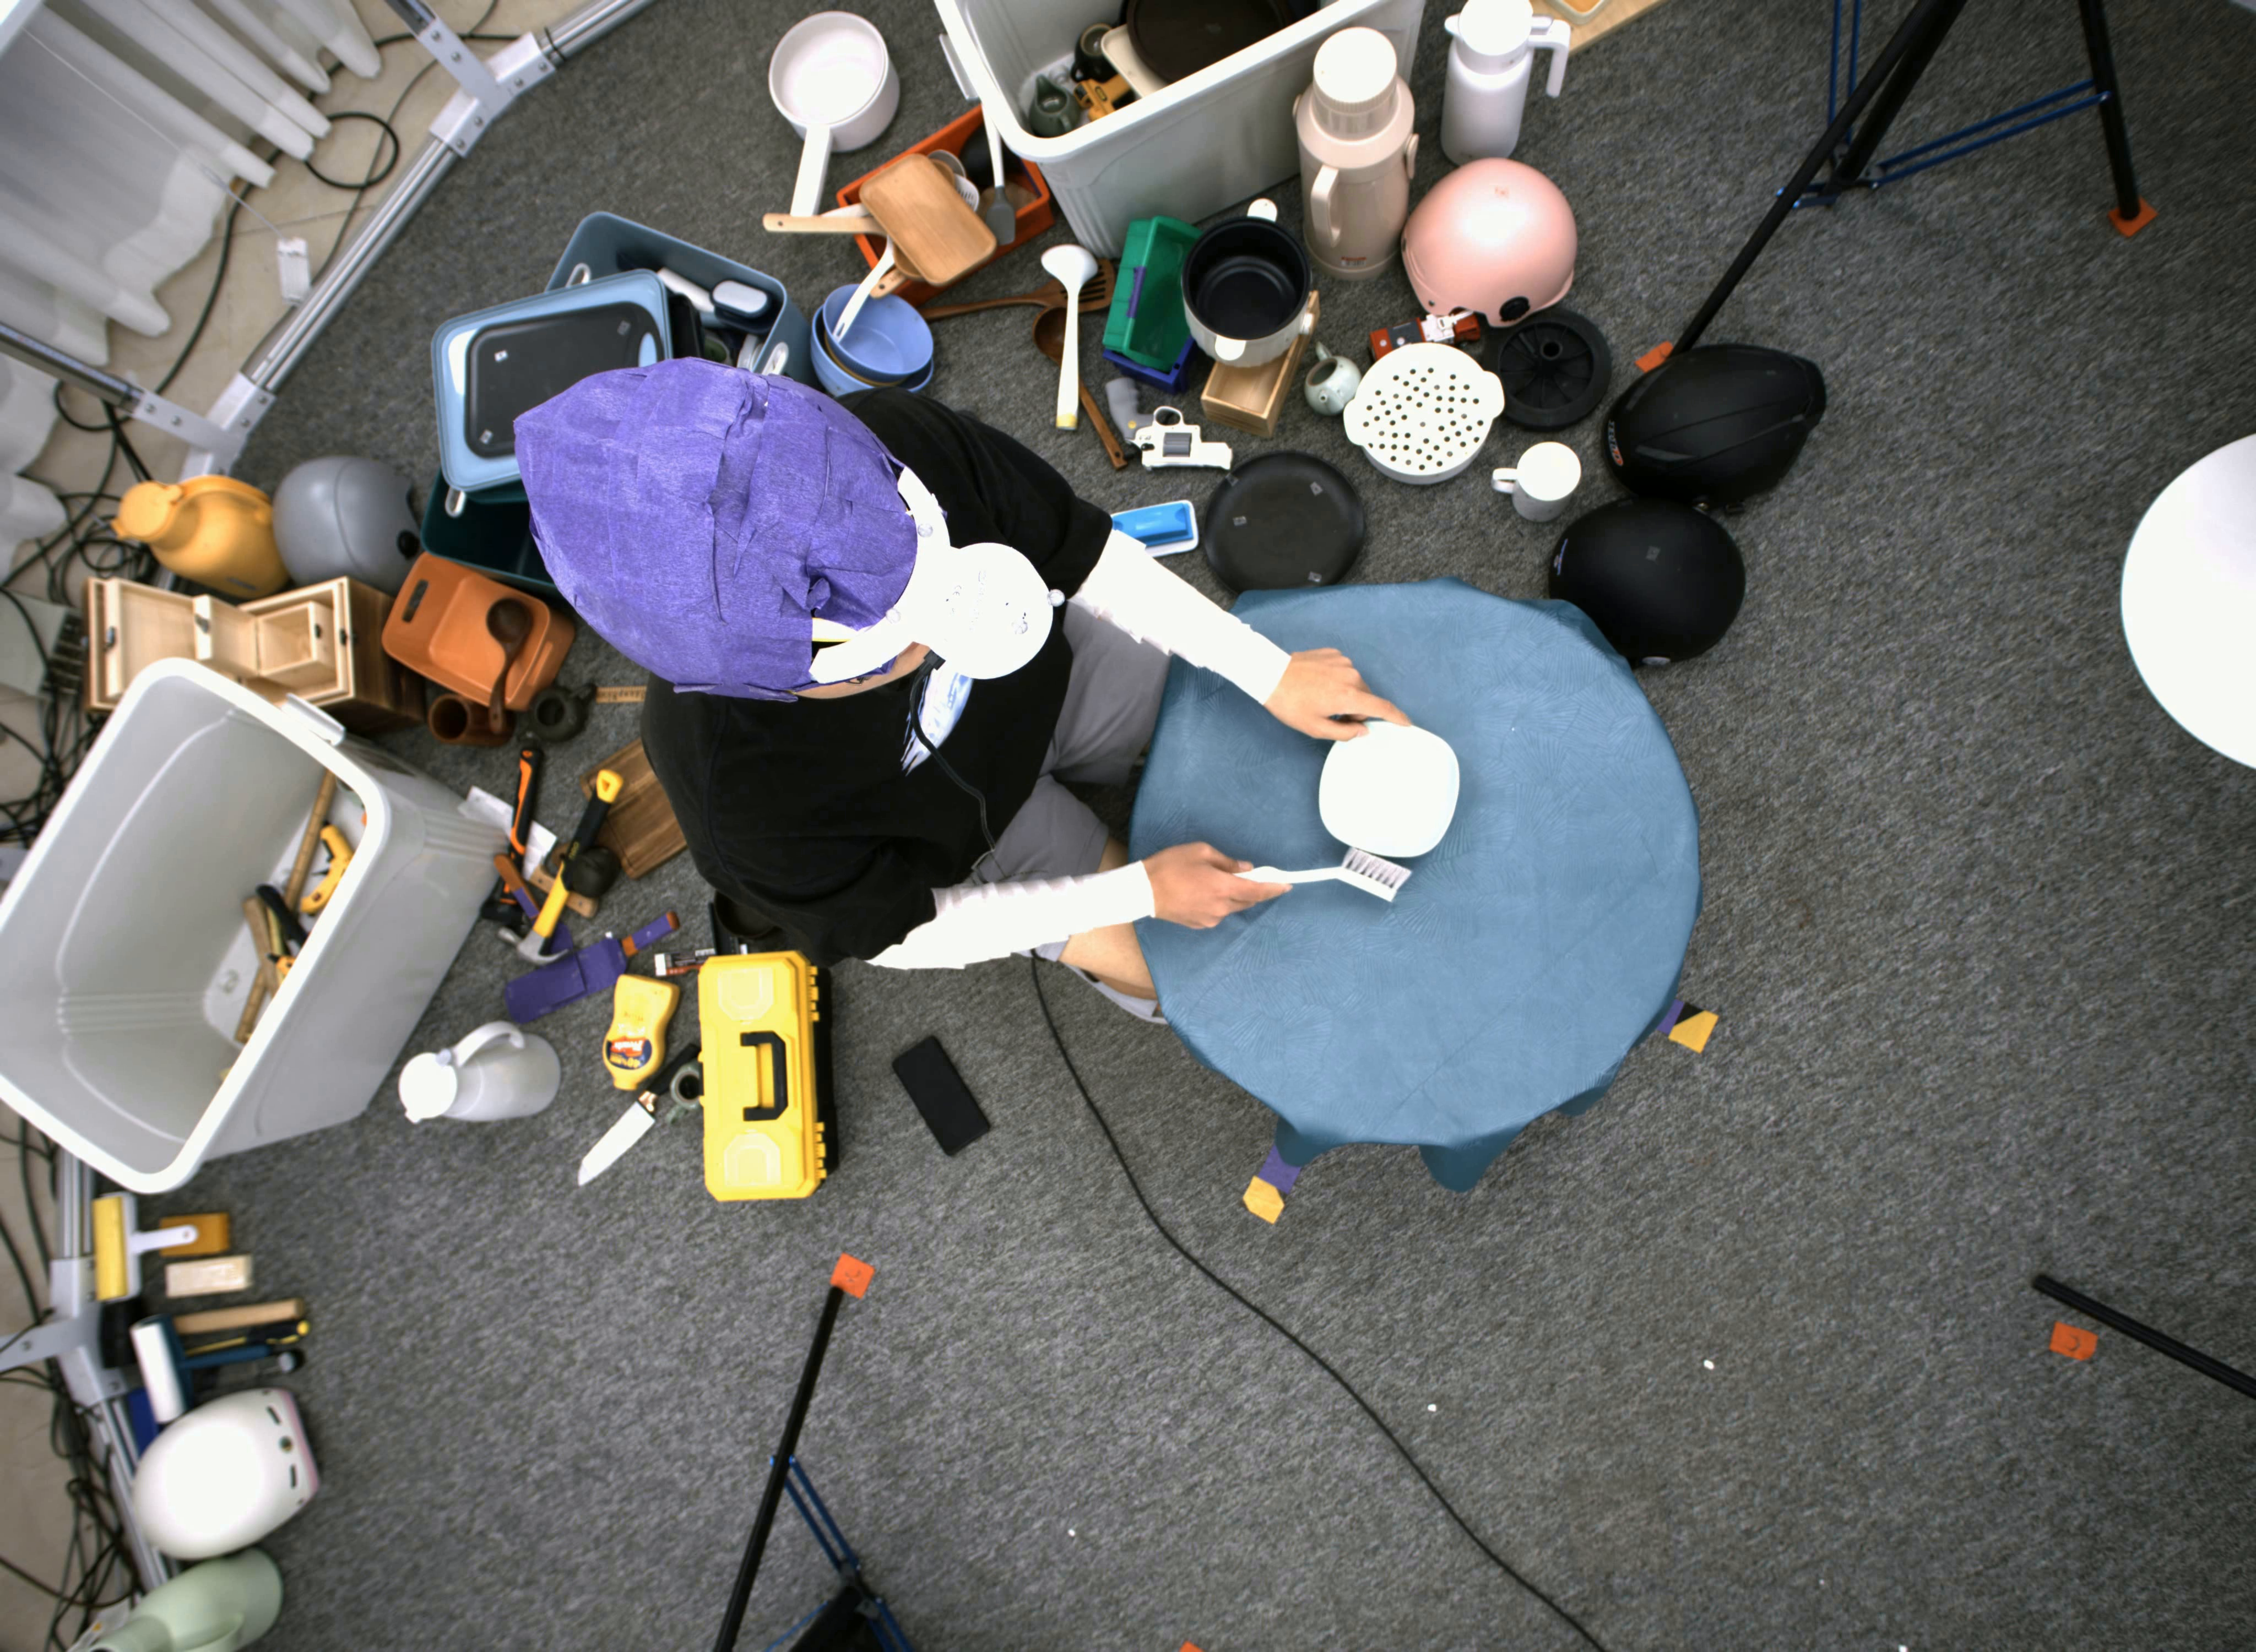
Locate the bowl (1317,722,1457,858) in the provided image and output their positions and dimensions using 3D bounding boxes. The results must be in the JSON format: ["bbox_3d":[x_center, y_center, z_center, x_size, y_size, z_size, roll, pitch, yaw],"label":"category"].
[{"bbox_3d":[0.271,-0.035,1.438,0.152,0.059,0.150,-1,85,12],"label":"bowl"}]

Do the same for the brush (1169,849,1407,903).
[{"bbox_3d":[0.165,0.040,1.432,0.244,0.034,0.050,7,92,10],"label":"brush"}]
